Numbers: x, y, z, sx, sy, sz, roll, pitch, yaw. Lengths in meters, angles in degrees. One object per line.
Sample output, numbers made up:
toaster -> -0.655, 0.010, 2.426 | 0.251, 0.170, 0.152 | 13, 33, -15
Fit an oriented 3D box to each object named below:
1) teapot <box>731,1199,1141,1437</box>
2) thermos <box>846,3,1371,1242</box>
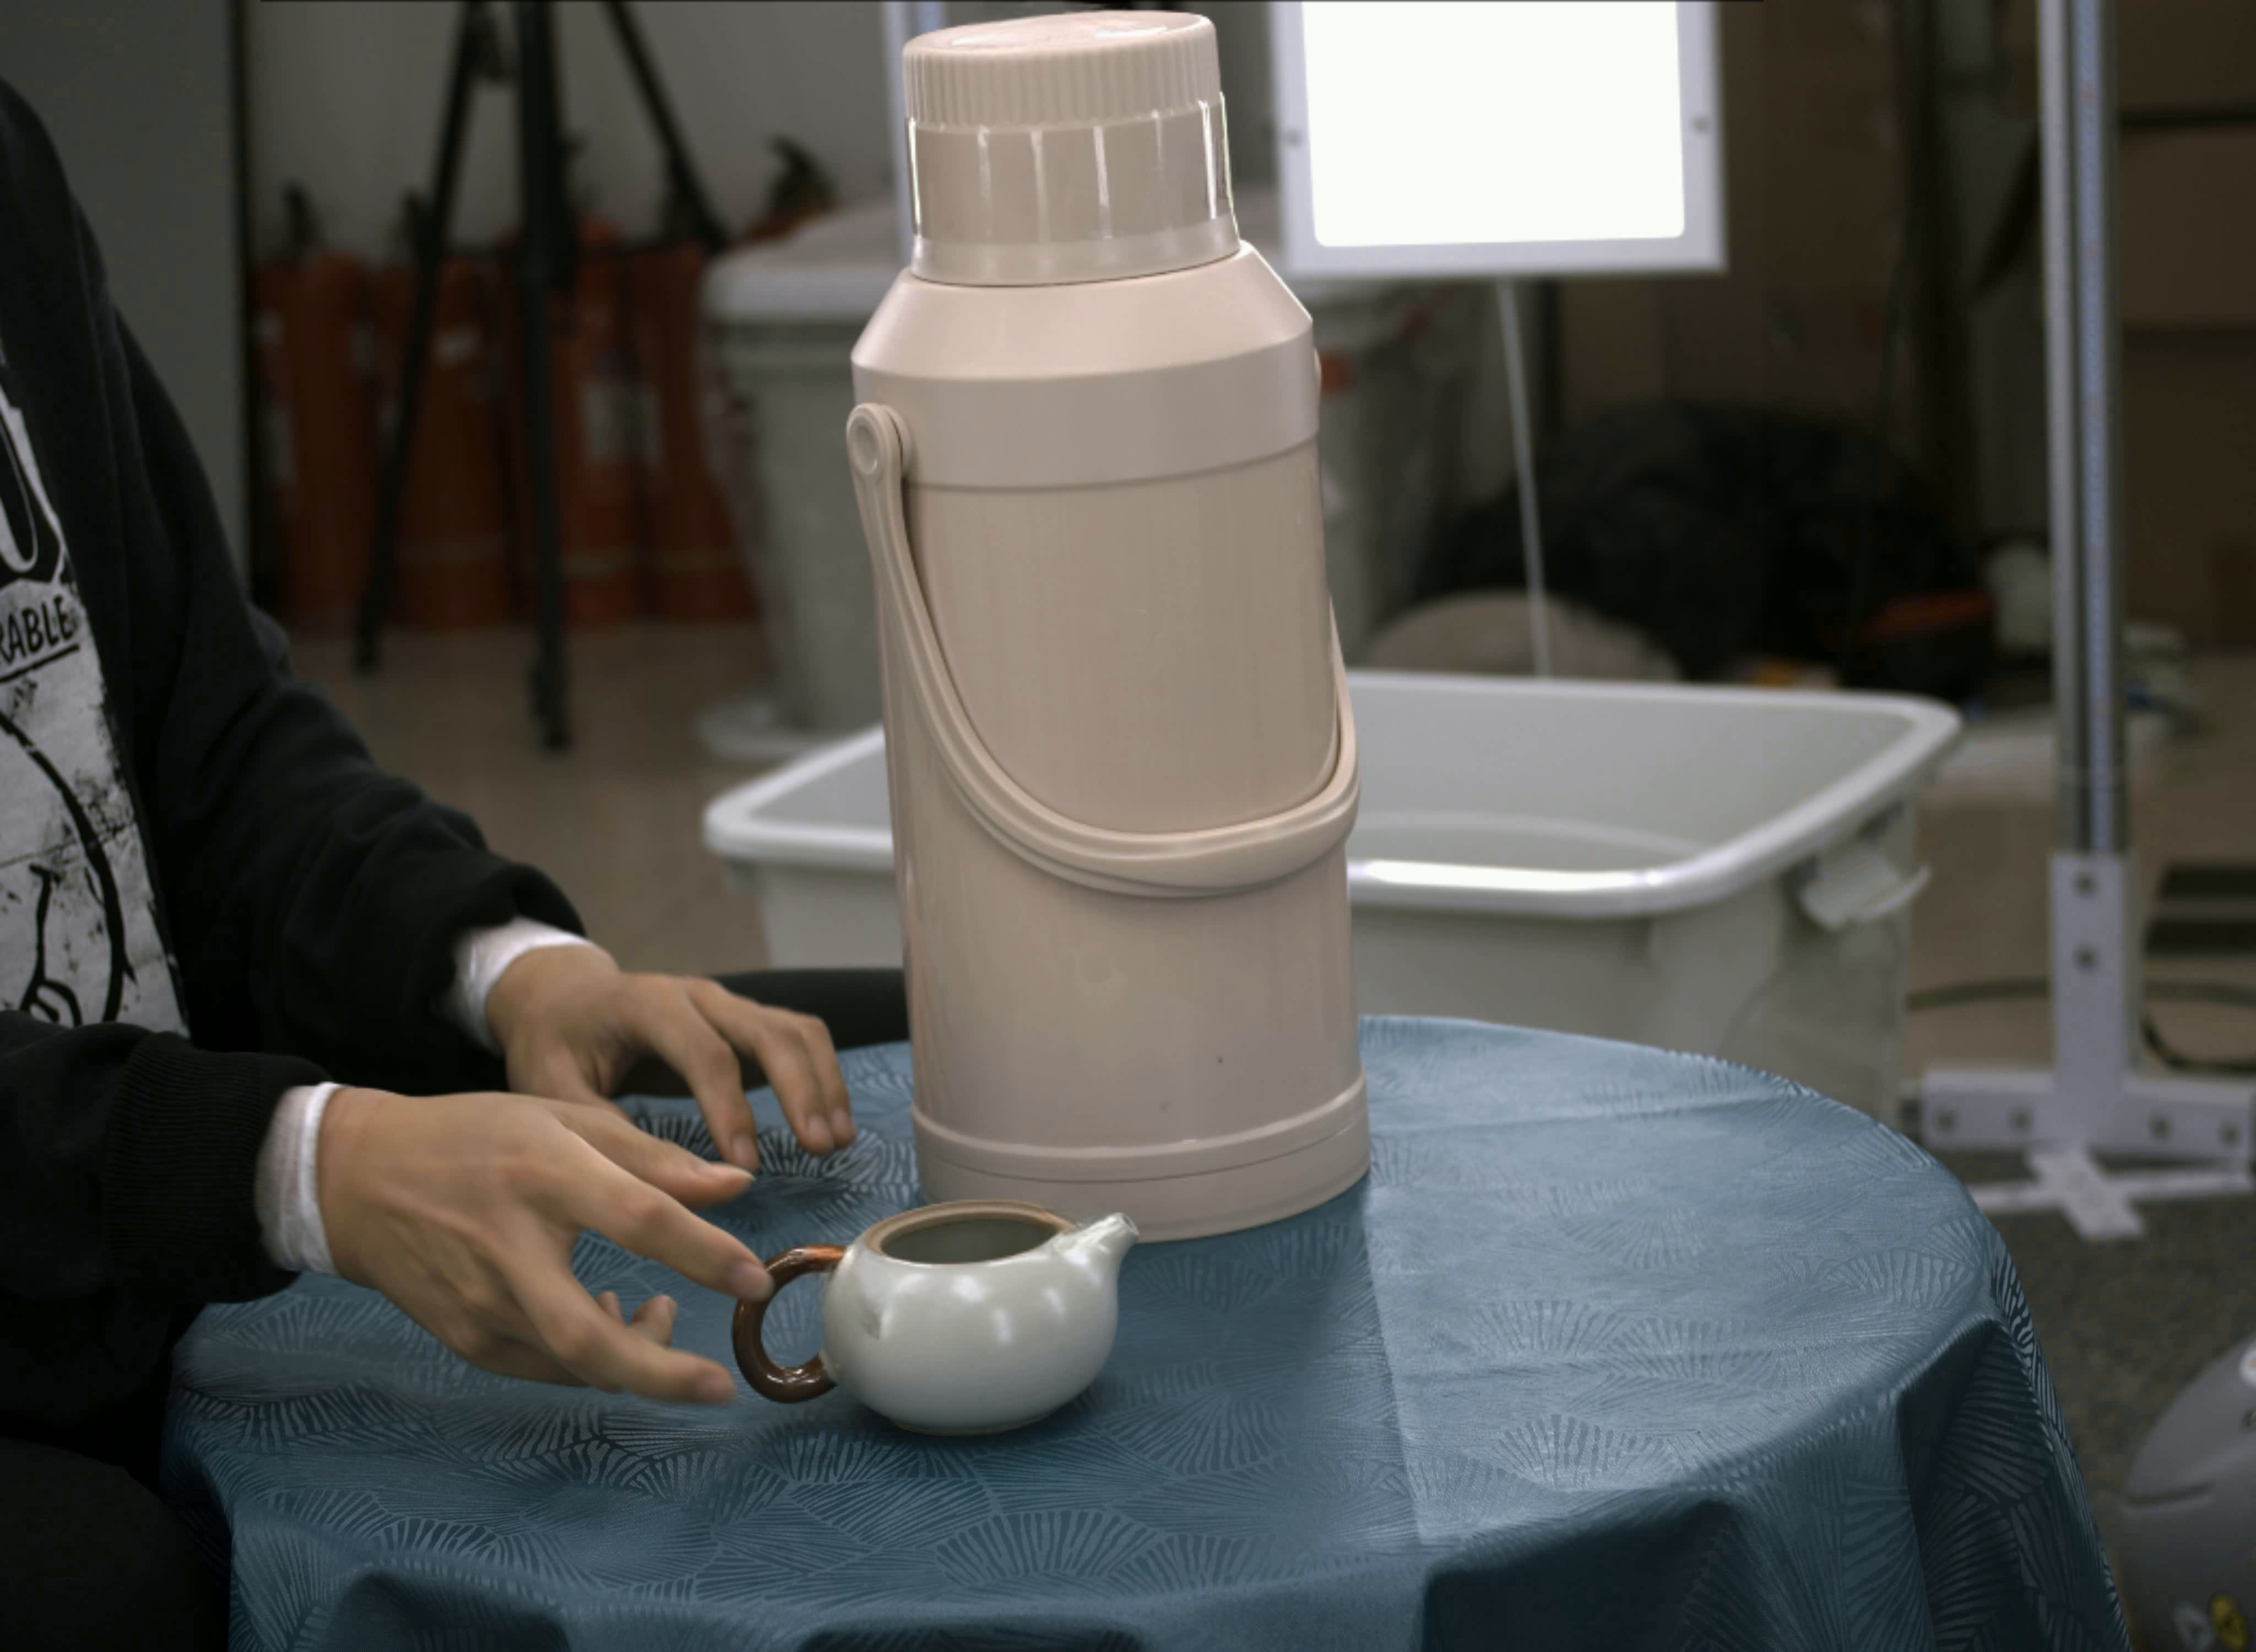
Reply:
teapot -> -0.058, 0.152, 1.695 | 0.127, 0.060, 0.092 | -5, 17, -5
thermos -> -0.015, -0.073, 1.884 | 0.171, 0.408, 0.211 | -15, 18, -31
